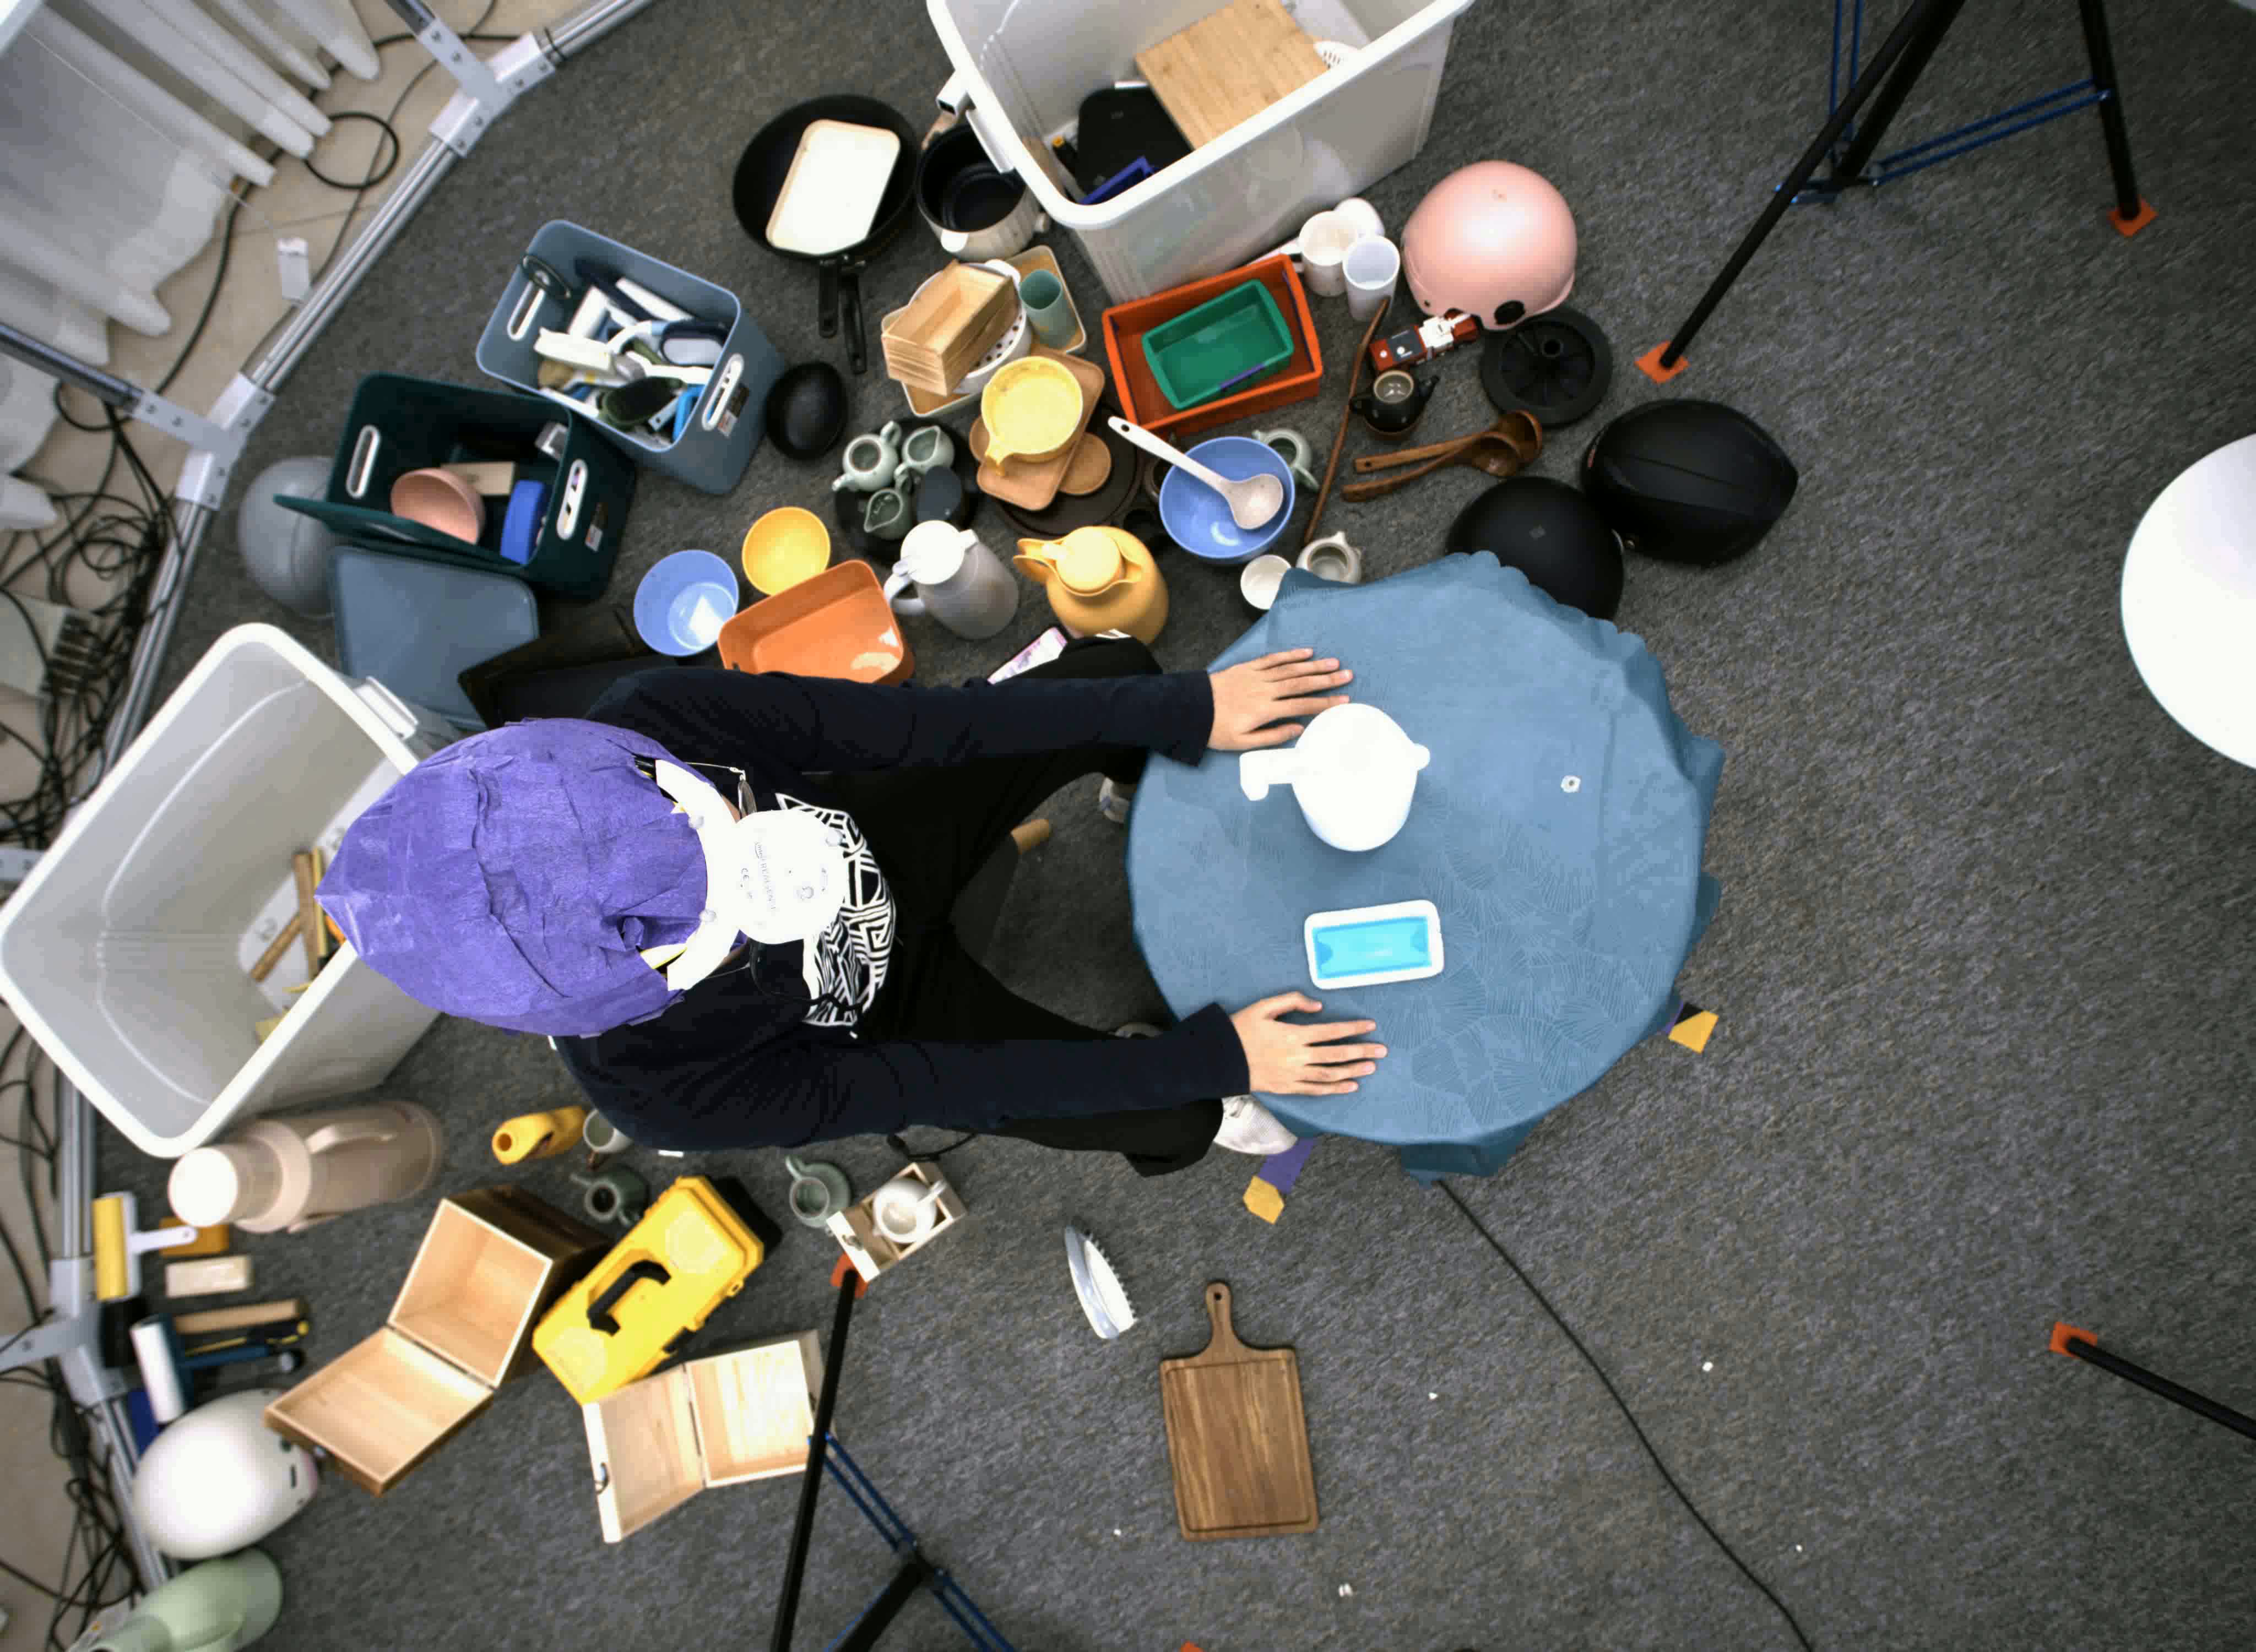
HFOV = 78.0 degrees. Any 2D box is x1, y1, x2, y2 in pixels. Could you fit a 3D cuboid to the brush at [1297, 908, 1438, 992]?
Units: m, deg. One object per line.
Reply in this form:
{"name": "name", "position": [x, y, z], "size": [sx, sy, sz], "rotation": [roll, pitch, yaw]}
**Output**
{"name": "brush", "position": [0.247, 0.124, 1.428], "size": [0.144, 0.056, 0.083], "rotation": [-6, 83, 7]}

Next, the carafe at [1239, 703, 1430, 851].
{"name": "carafe", "position": [0.203, -0.044, 1.342], "size": [0.173, 0.269, 0.123], "rotation": [-5, 85, 10]}
